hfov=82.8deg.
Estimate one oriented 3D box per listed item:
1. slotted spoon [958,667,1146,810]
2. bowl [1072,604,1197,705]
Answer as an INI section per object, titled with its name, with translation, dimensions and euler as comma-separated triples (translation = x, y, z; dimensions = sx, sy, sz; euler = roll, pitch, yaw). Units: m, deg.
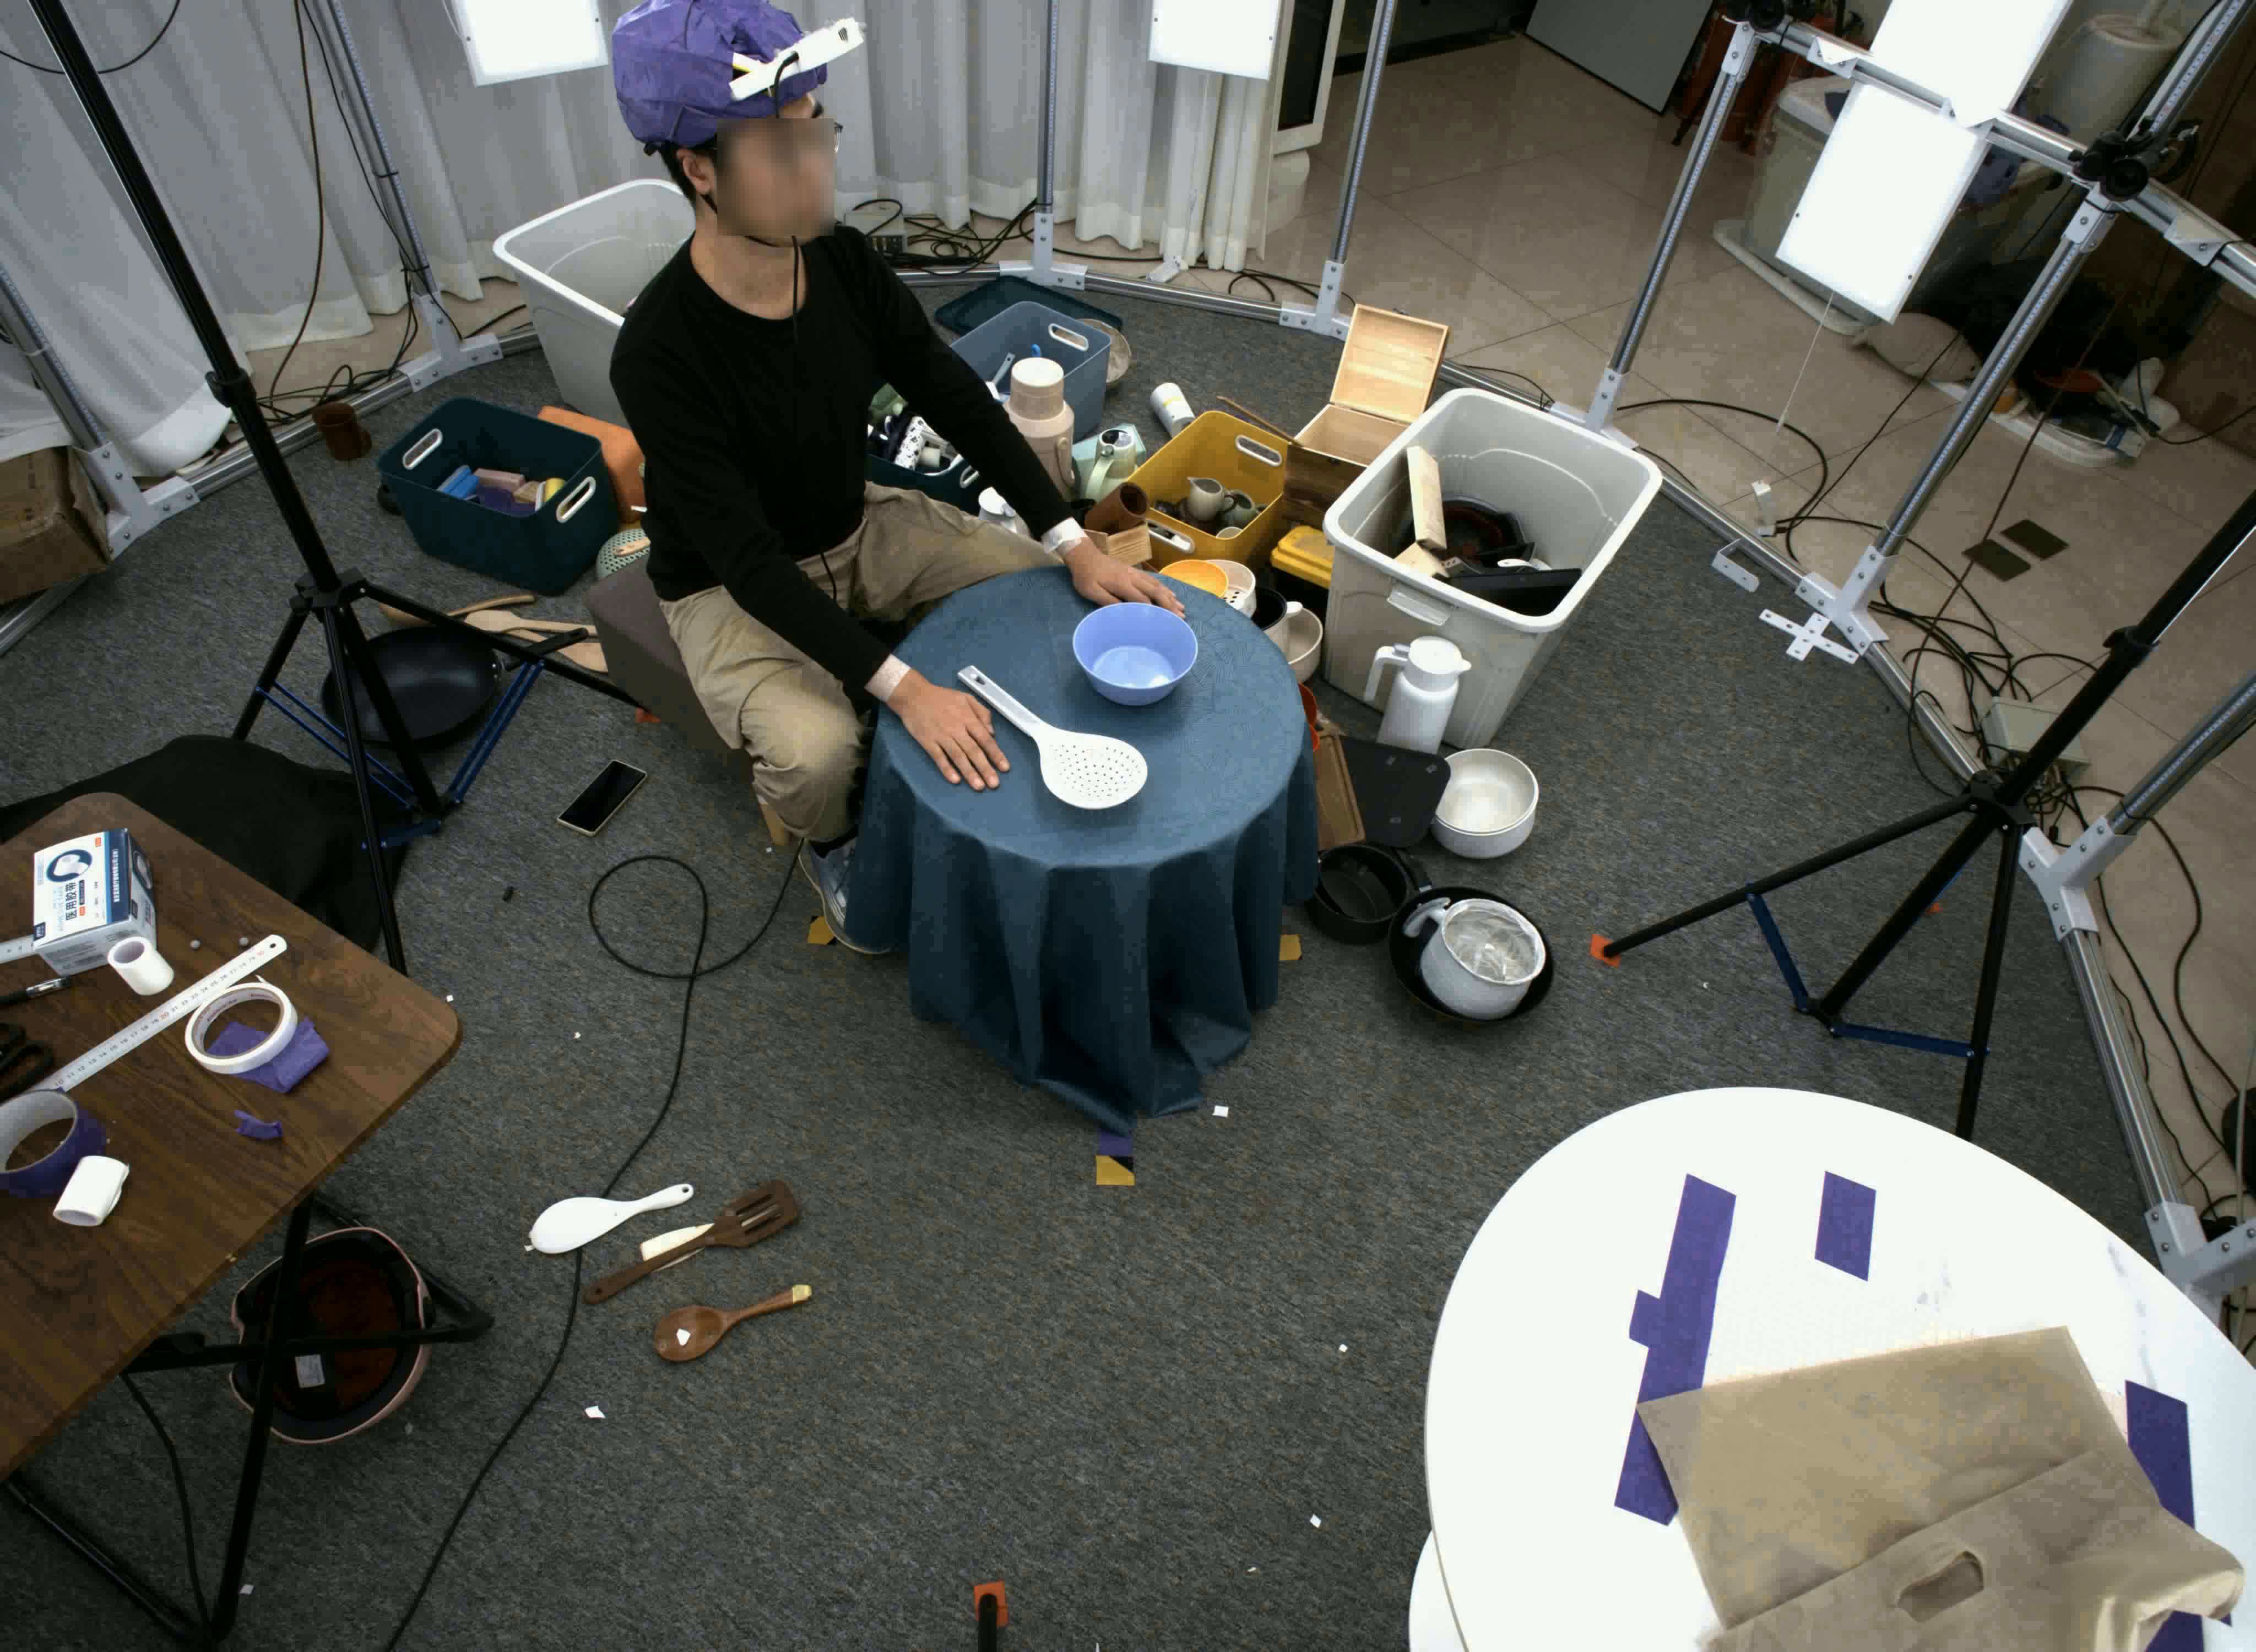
[slotted spoon]
translation = -0.117, -0.125, 1.741
dimensions = 0.137, 0.044, 0.355
euler = -32, 57, -27
[bowl]
translation = 0.008, -0.236, 1.831
dimensions = 0.176, 0.068, 0.180
euler = 1, 49, -2
